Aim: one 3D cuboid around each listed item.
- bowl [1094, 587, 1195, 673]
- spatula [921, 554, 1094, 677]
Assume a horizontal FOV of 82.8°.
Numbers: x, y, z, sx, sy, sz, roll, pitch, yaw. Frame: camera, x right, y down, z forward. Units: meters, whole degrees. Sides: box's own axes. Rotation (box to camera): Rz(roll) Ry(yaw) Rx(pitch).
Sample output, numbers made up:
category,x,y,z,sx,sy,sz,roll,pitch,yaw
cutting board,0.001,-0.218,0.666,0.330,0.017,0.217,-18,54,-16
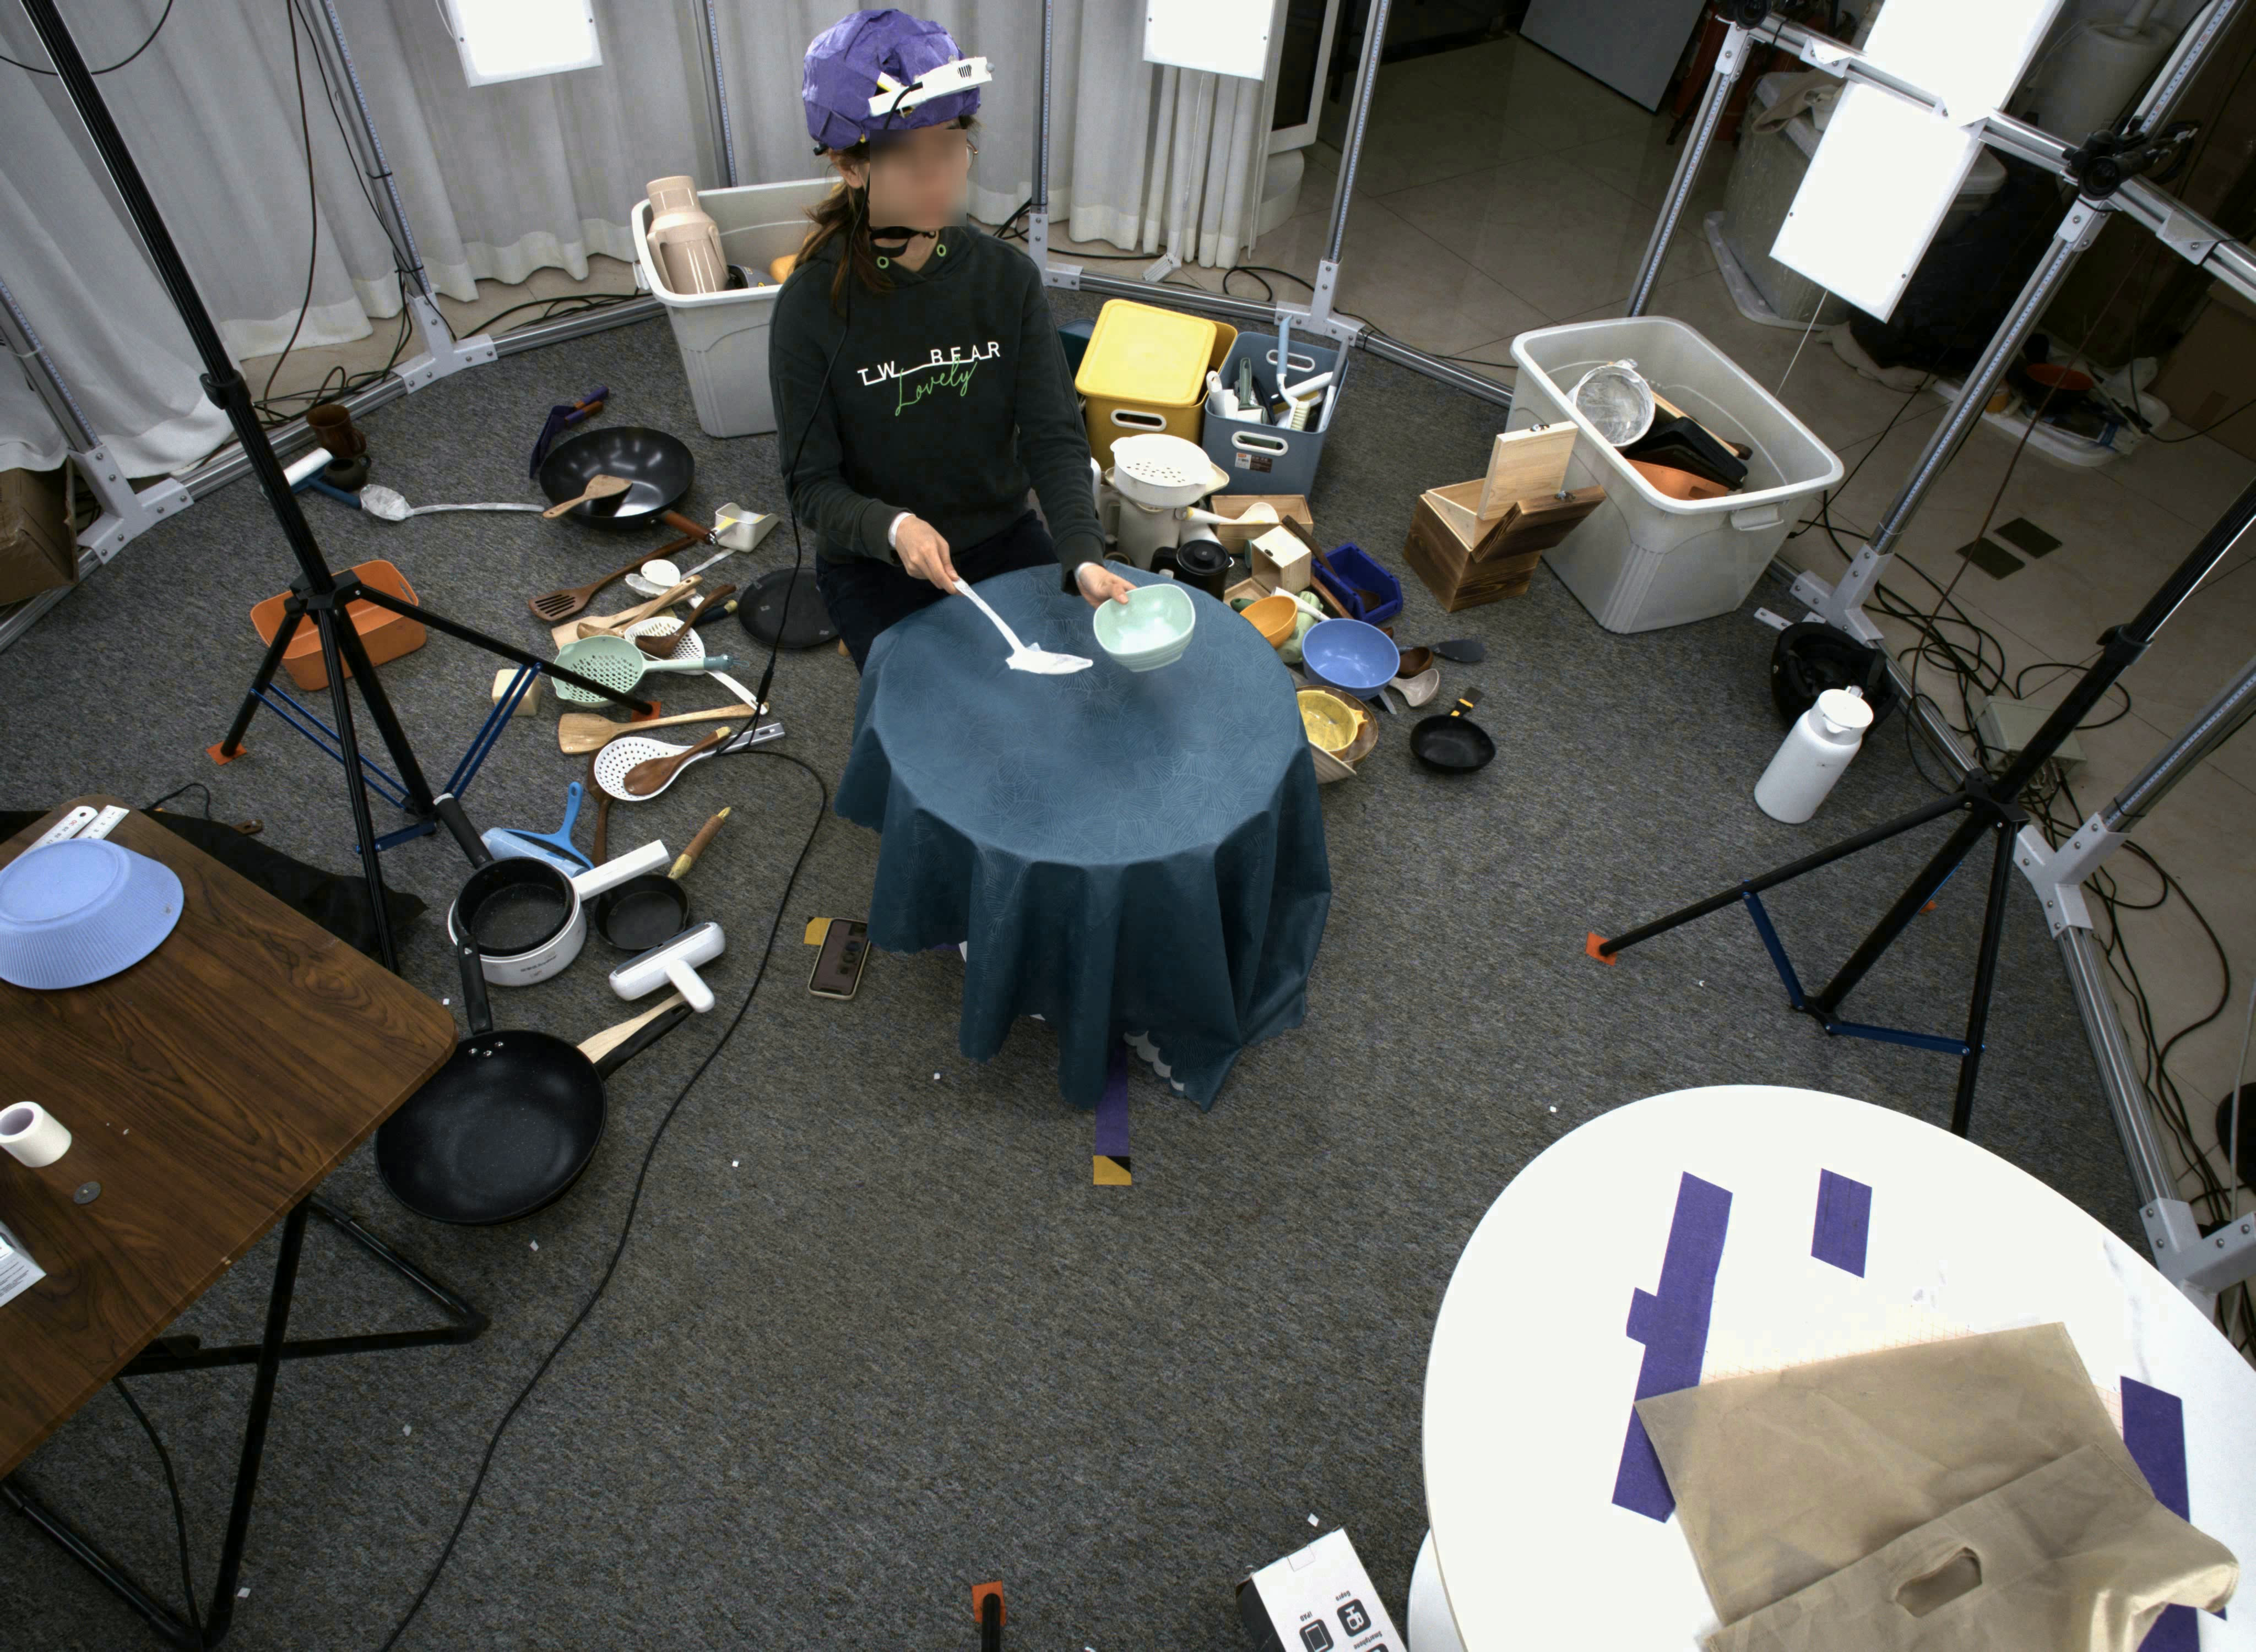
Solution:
category,x,y,z,sx,sy,sz,roll,pitch,yaw
bowl,0.027,-0.264,1.783,0.151,0.057,0.155,-7,45,7
spatula,-0.184,-0.291,1.735,0.099,0.044,0.372,-17,49,-36
